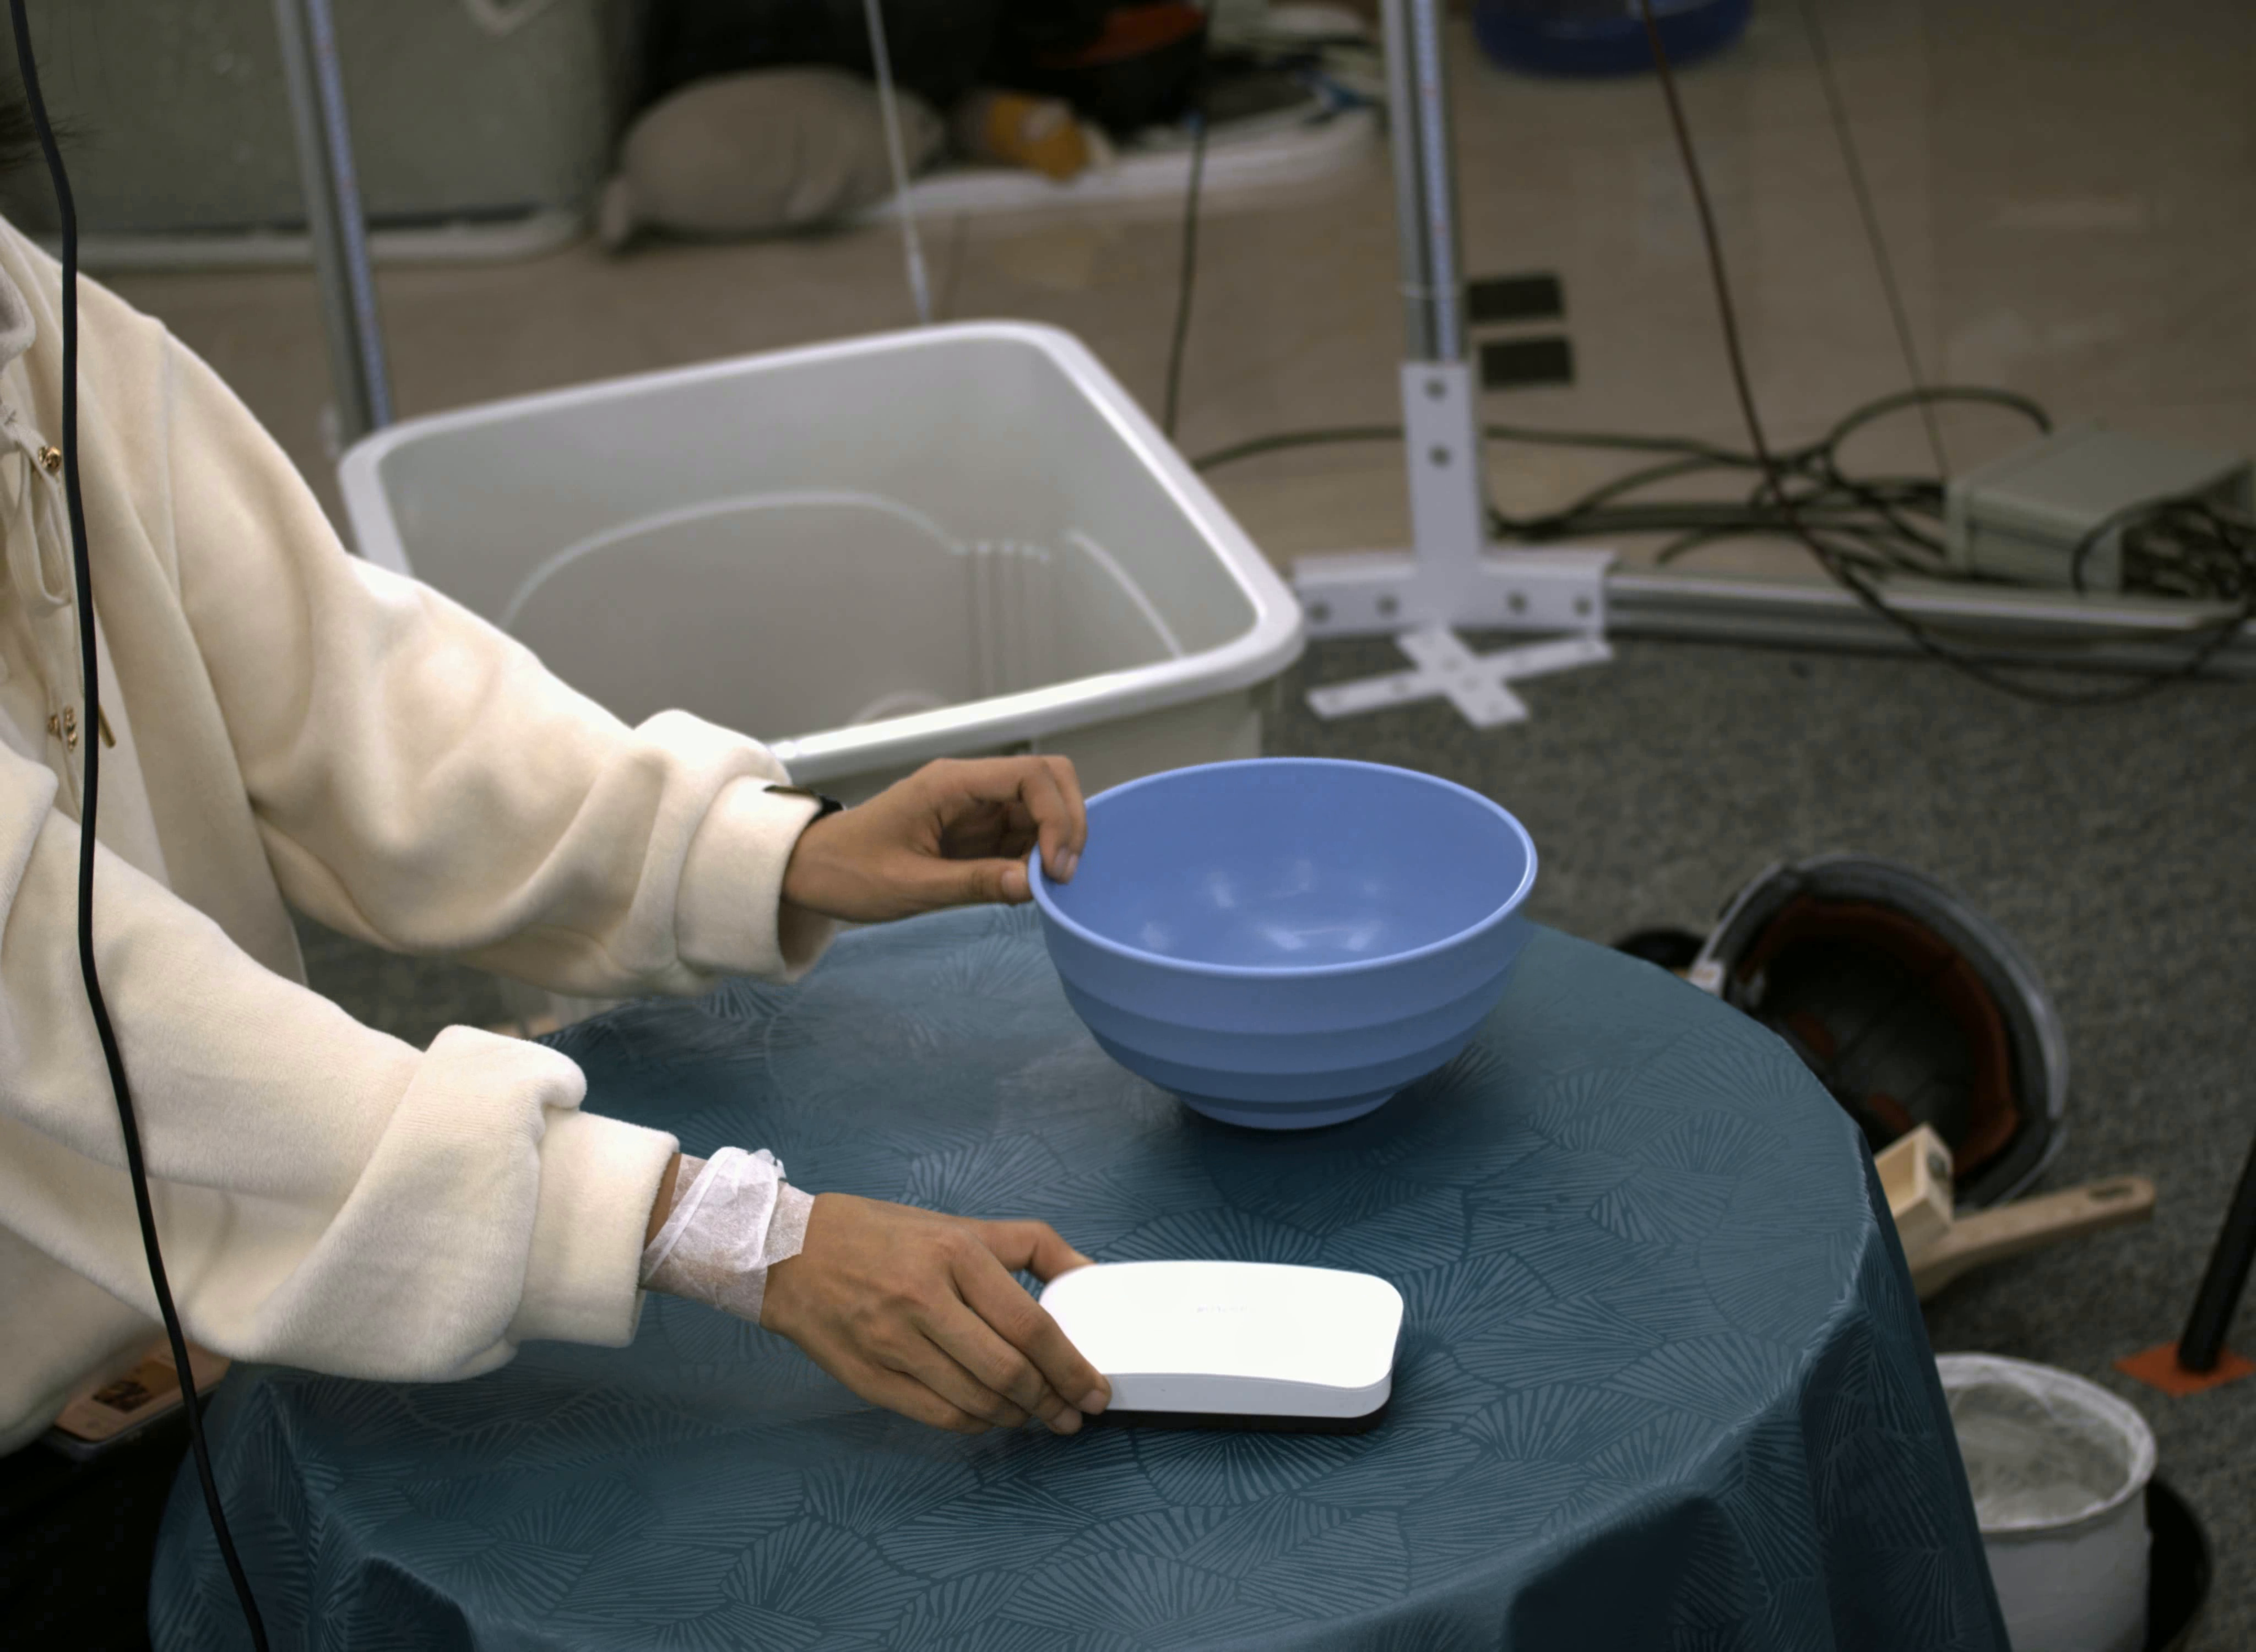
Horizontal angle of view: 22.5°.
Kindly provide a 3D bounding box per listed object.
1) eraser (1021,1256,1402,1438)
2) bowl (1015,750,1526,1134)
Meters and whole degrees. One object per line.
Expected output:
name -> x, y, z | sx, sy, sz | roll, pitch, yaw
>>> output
eraser -> 0.030, 0.184, 1.997 | 0.131, 0.035, 0.062 | 1, 34, 12
bowl -> 0.053, 0.055, 2.193 | 0.196, 0.097, 0.193 | 2, 29, -1
